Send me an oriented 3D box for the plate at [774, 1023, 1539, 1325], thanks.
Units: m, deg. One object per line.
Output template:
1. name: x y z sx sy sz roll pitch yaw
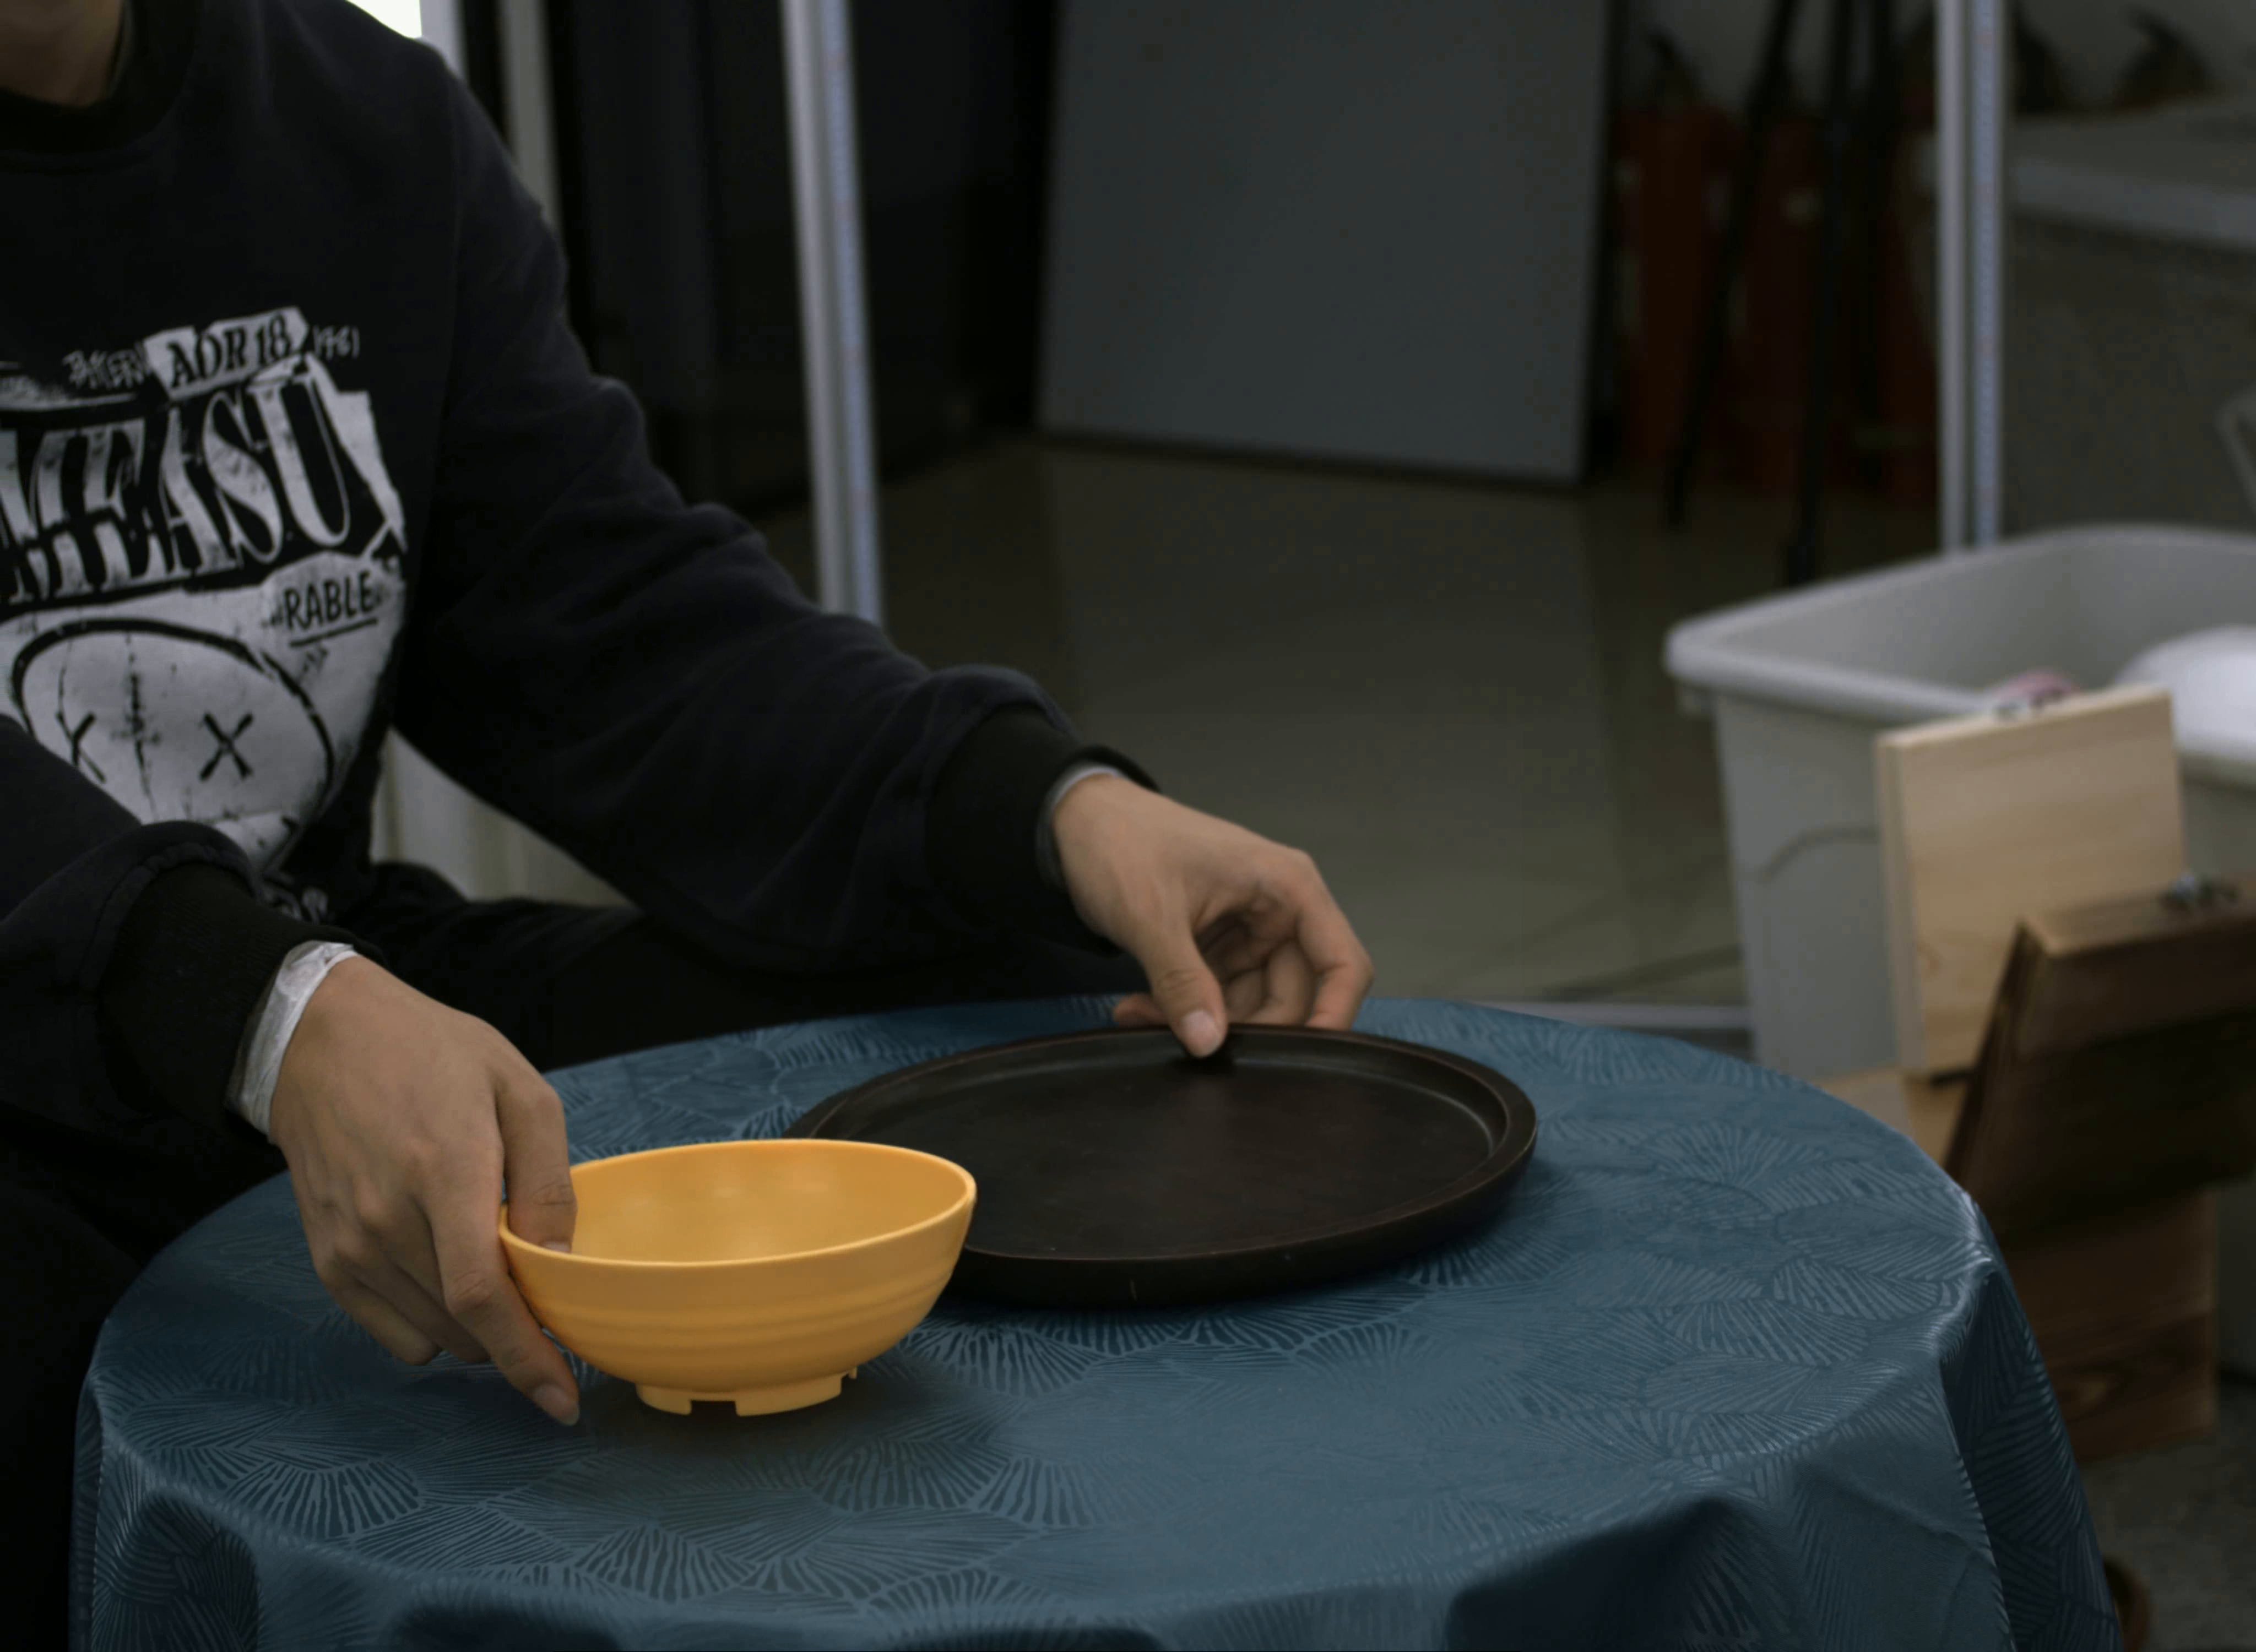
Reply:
1. plate: 0.010 0.111 1.763 0.251 0.029 0.255 -6 15 1

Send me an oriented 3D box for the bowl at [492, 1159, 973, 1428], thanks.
1. bowl: -0.114 0.141 1.600 0.143 0.061 0.145 -5 8 0
